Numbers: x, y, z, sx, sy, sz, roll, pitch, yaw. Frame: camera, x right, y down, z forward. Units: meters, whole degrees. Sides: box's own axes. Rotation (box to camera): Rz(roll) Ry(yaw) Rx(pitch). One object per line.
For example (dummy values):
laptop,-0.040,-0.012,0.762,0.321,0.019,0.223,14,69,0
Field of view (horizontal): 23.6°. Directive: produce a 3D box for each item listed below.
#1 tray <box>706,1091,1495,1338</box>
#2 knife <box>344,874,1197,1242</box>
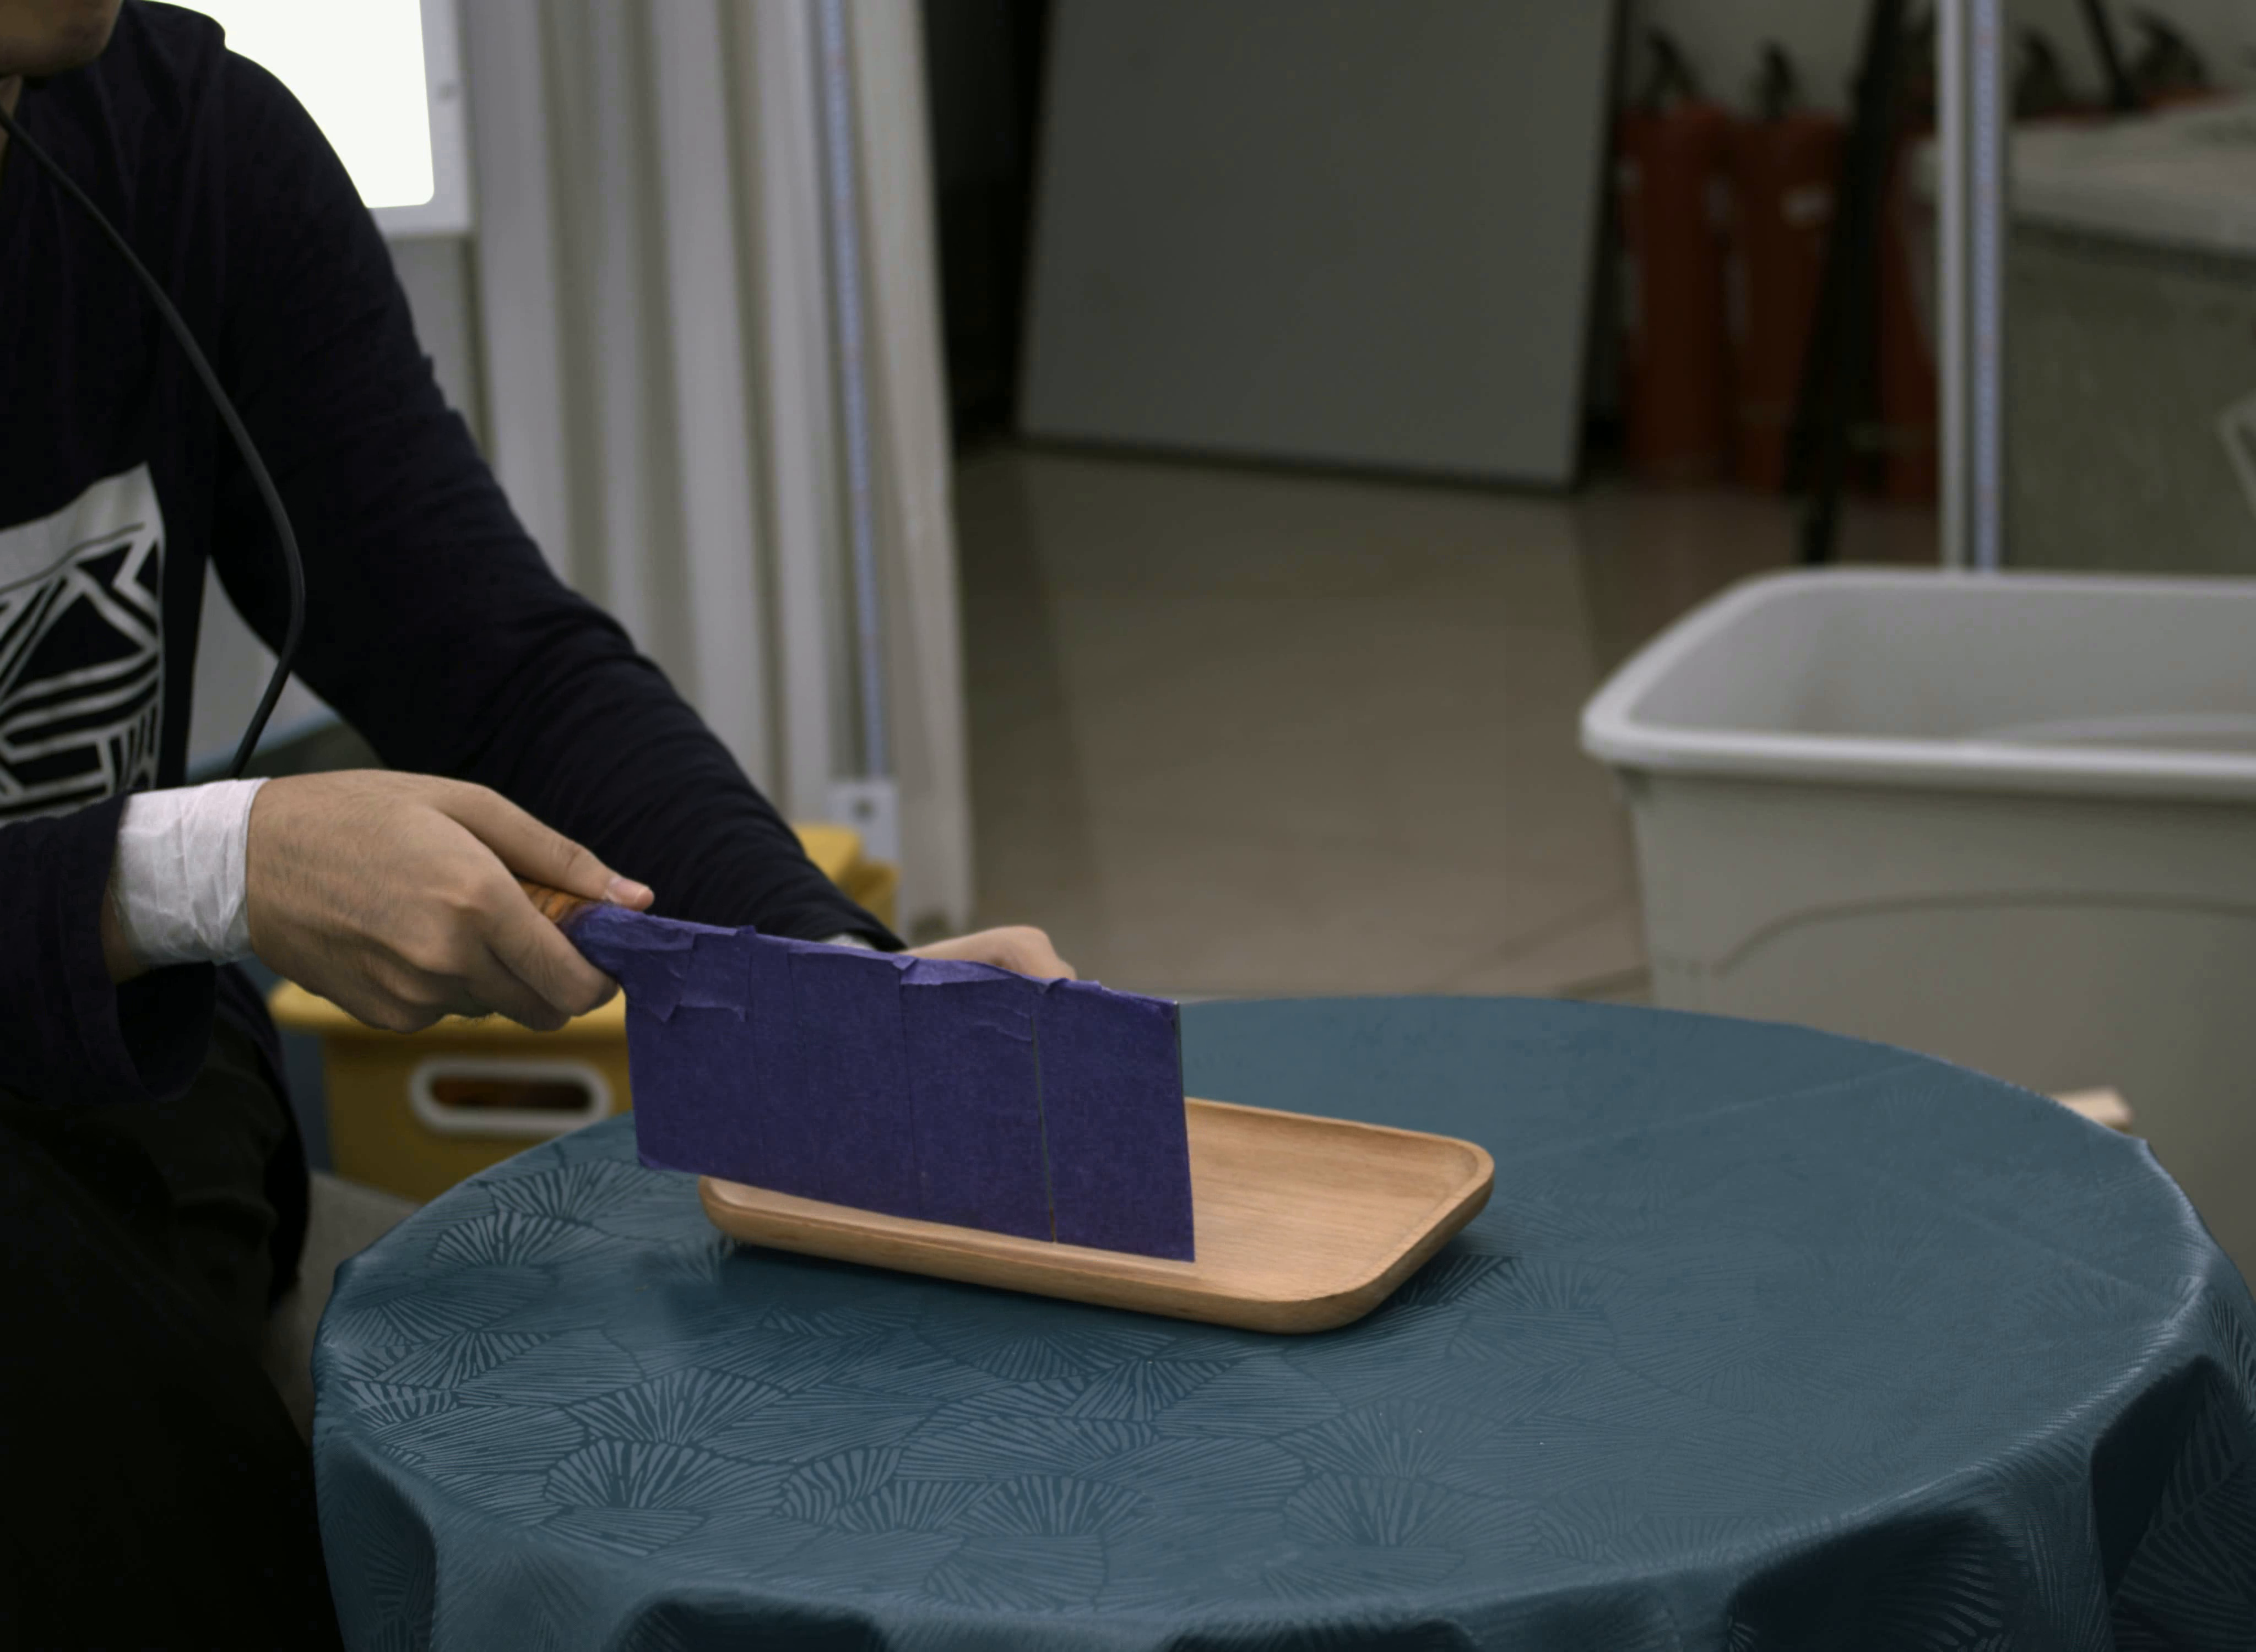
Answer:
tray,-0.010,0.117,1.723,0.252,0.023,0.128,6,22,35
knife,-0.117,0.075,1.714,0.317,0.105,0.032,8,20,32
